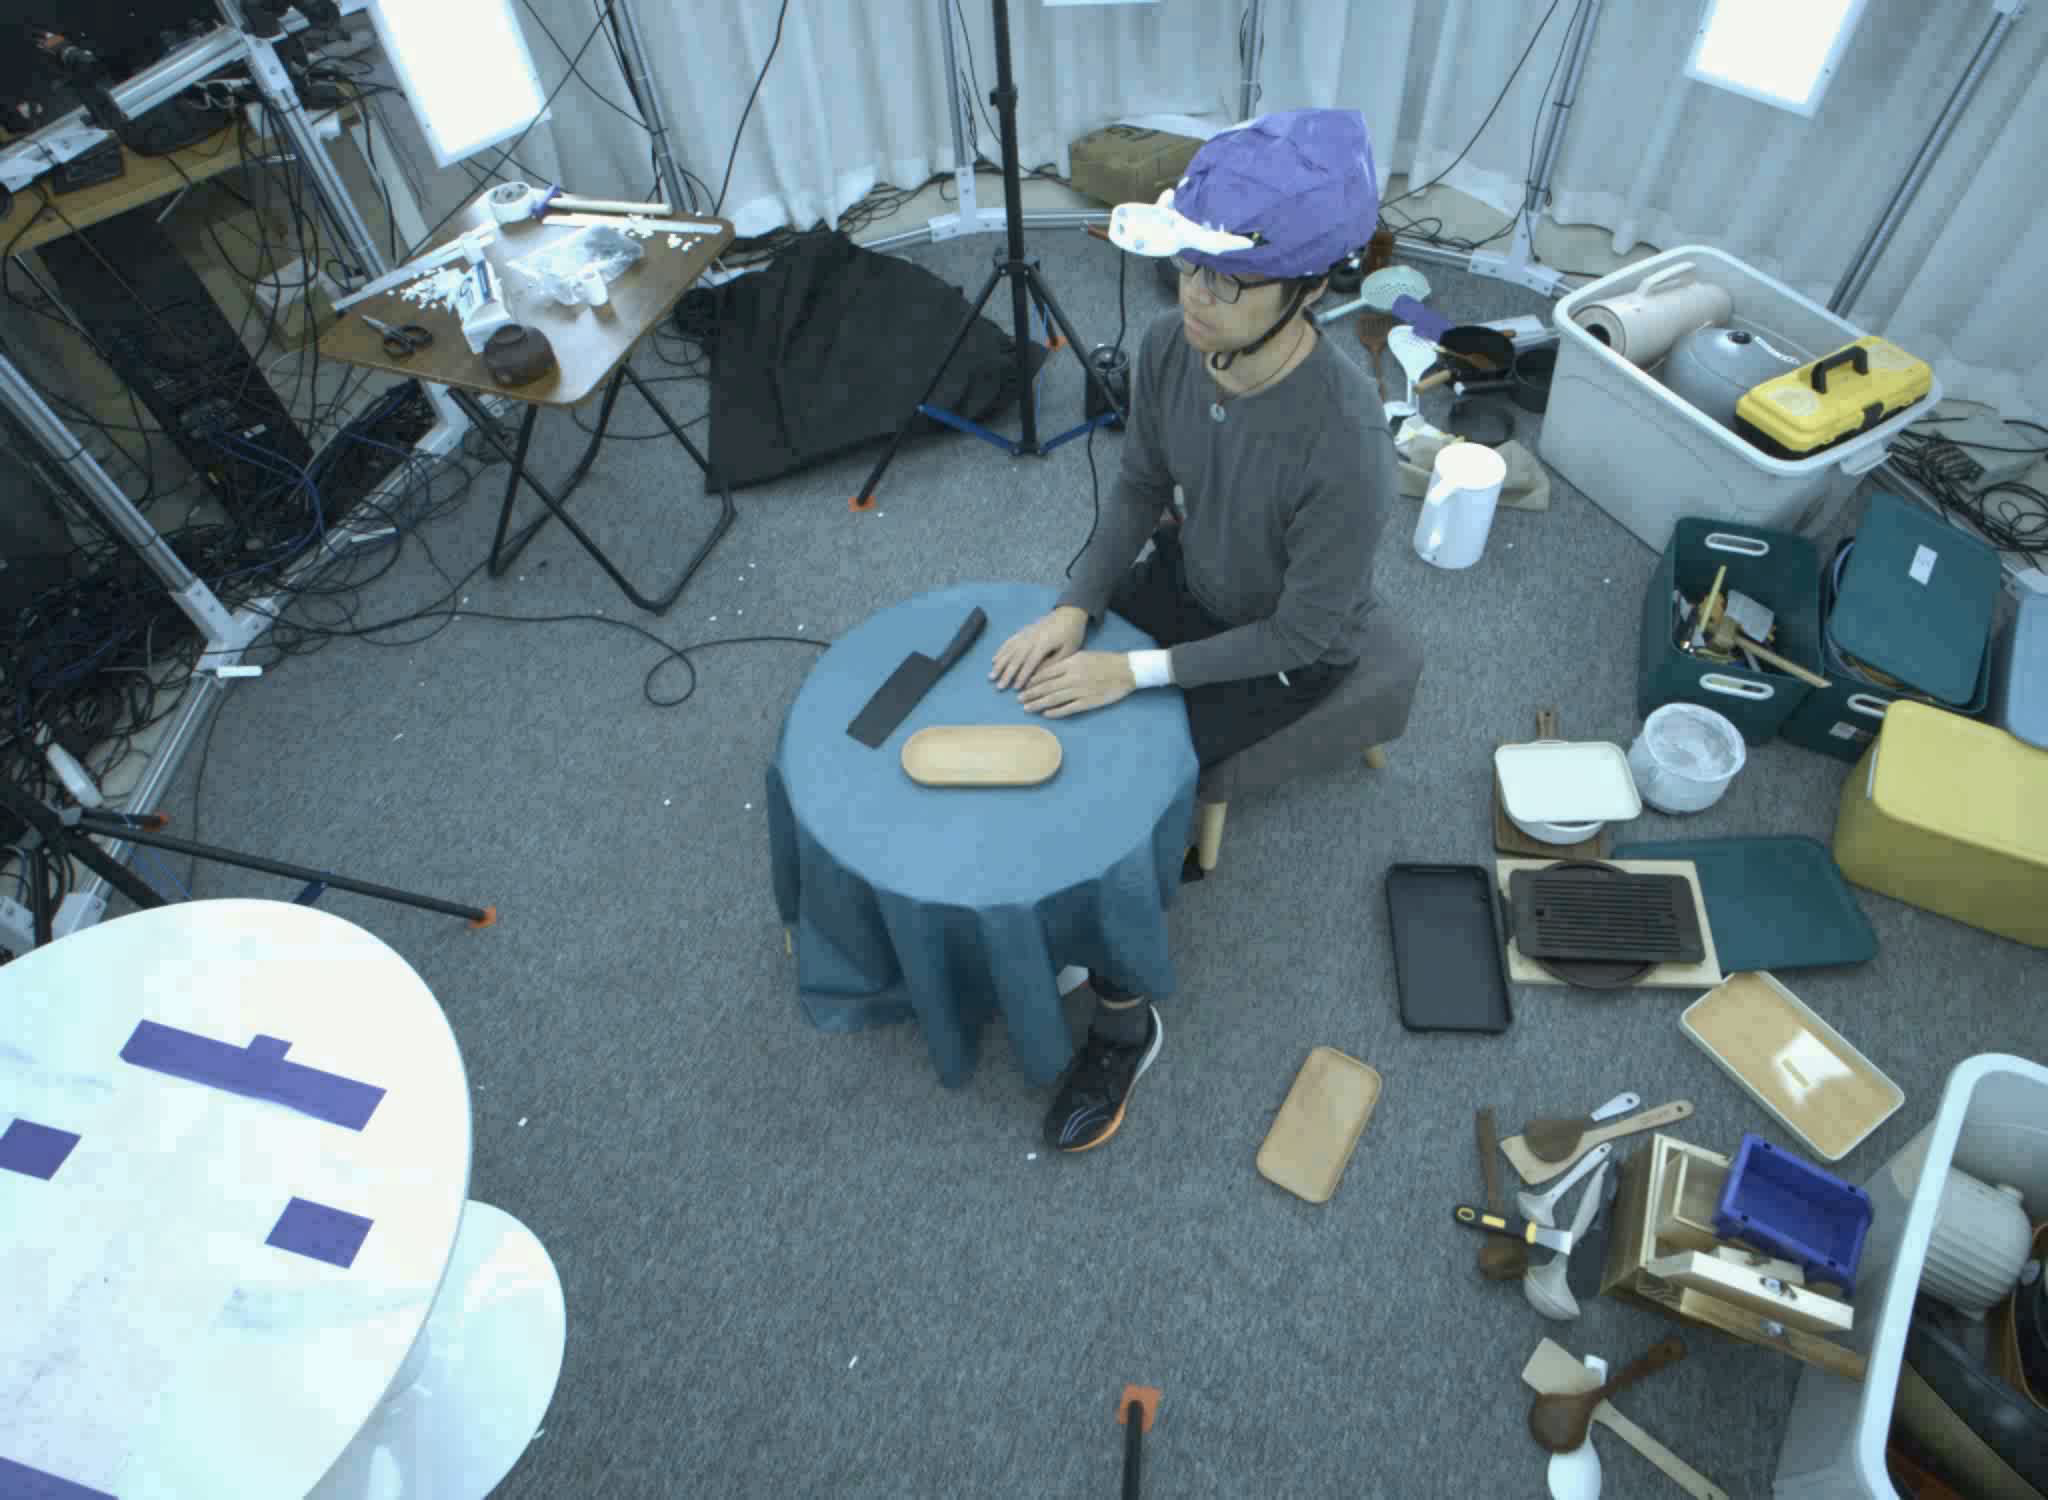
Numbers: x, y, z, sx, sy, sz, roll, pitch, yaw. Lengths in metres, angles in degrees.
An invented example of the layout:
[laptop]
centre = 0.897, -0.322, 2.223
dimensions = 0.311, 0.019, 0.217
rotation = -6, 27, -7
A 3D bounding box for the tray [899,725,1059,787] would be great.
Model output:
[tray]
centre = -0.065, 0.010, 1.780
dimensions = 0.231, 0.020, 0.100
rotation = -2, 53, 2

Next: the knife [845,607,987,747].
[knife]
centre = -0.158, -0.118, 1.876
dimensions = 0.079, 0.021, 0.304
rotation = 31, 62, 23
